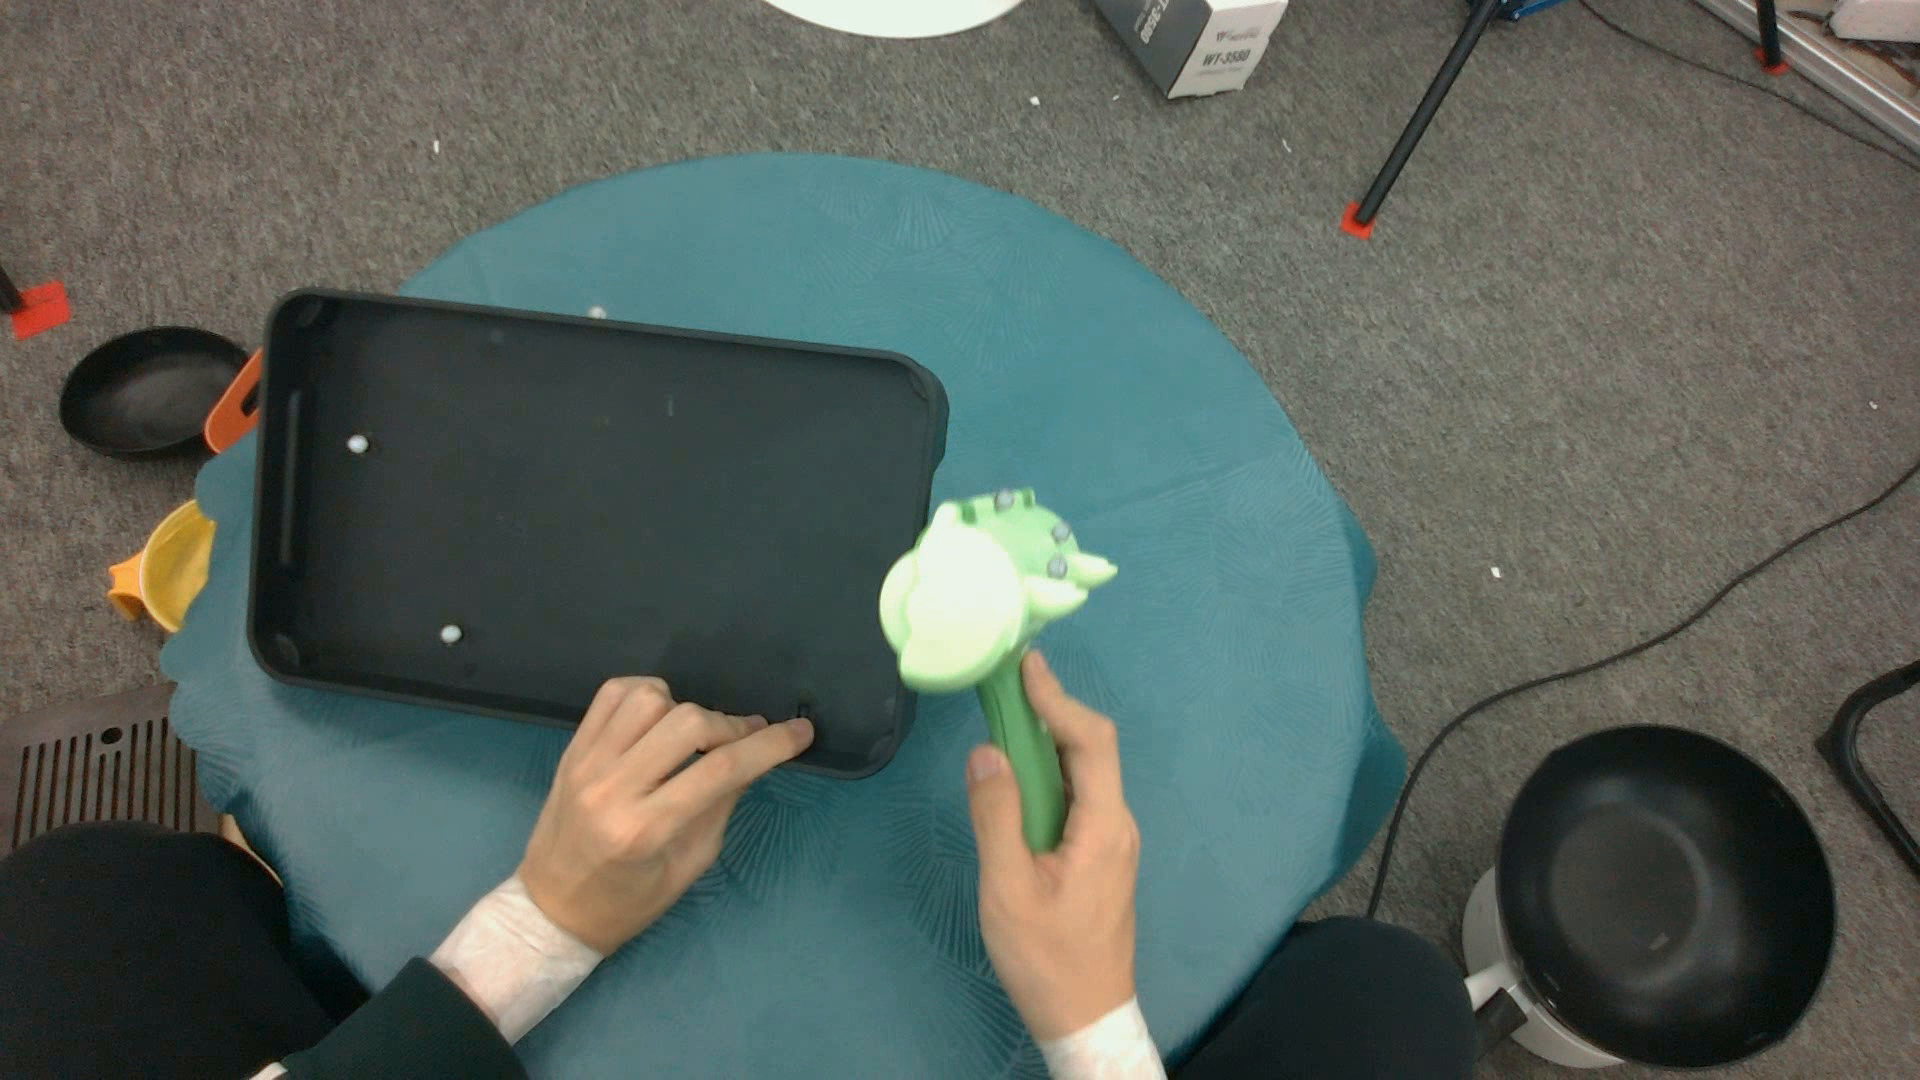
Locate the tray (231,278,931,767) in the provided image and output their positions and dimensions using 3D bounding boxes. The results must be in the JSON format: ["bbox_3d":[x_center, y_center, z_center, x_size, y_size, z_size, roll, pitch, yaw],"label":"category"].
[{"bbox_3d":[-0.174,-0.012,0.613,0.318,0.037,0.184,7,97,11],"label":"tray"}]

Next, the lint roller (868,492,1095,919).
[{"bbox_3d":[0.032,0.069,0.598,0.082,0.199,0.183,-21,90,11],"label":"lint roller"}]
